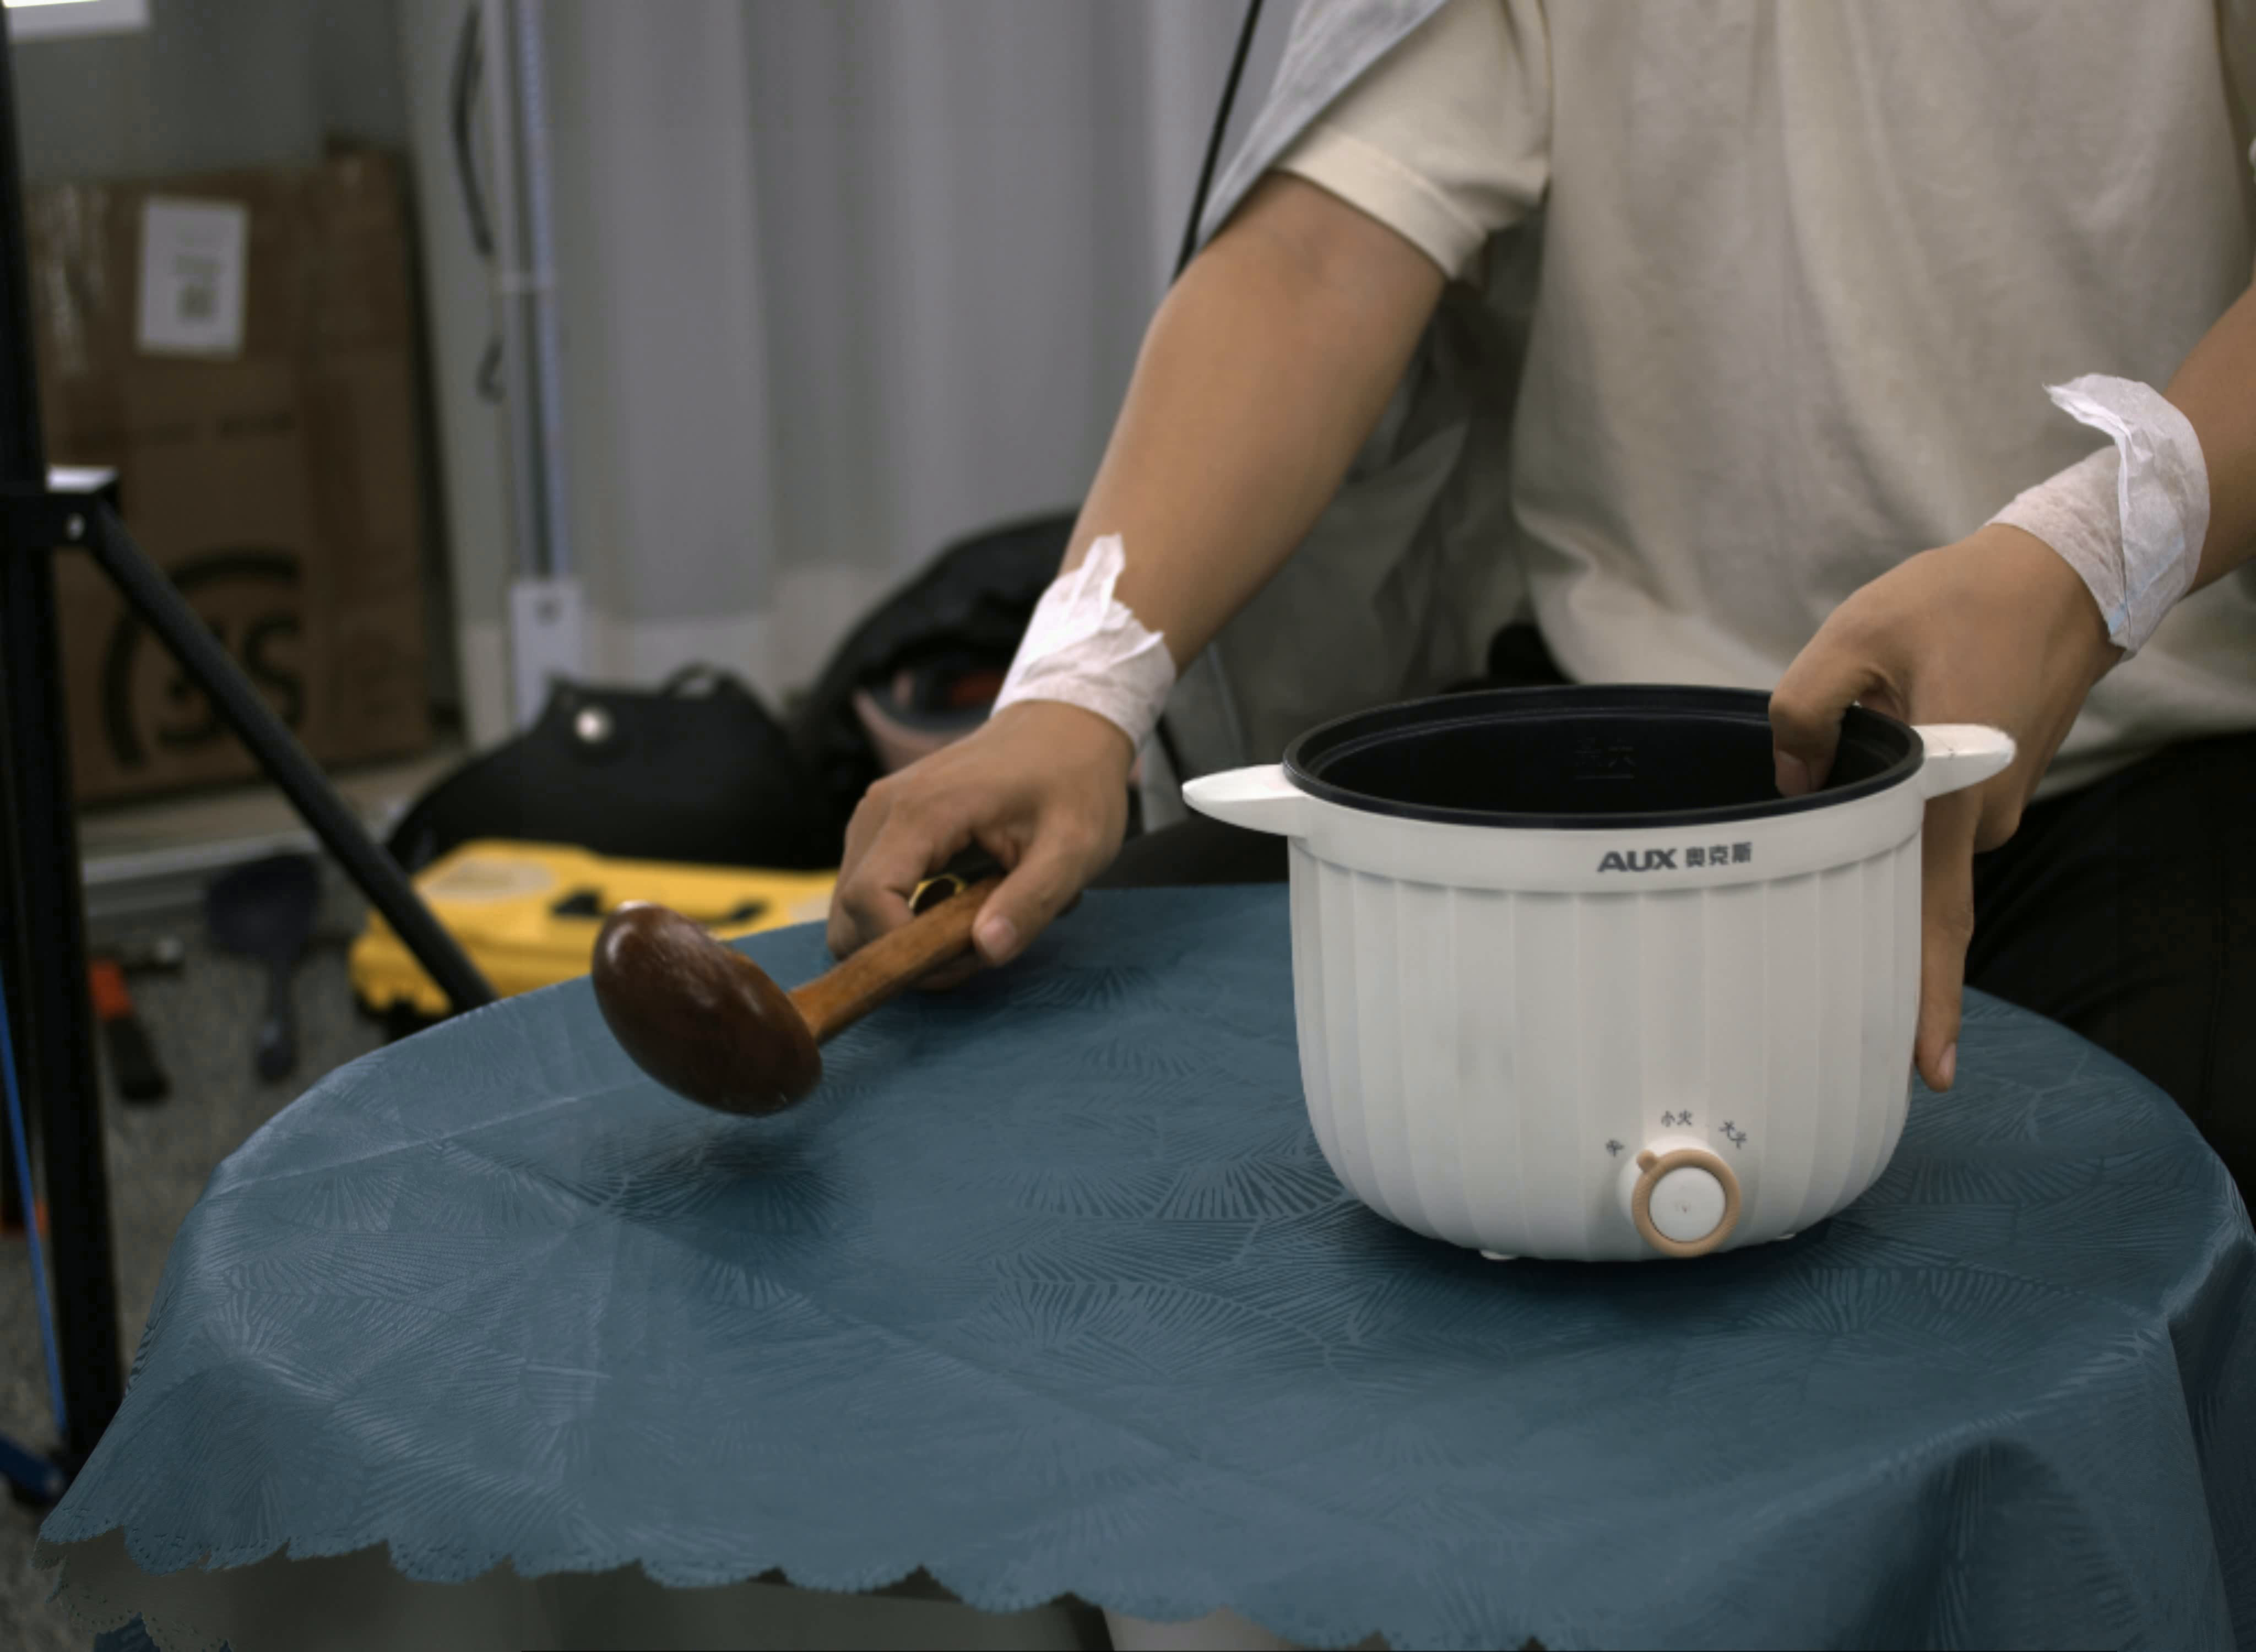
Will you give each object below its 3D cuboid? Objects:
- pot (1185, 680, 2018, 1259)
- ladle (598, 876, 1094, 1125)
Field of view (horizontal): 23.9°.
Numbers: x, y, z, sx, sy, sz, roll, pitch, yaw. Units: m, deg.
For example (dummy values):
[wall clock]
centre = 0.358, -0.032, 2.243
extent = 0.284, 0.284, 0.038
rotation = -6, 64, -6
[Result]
[pot]
centre = 0.138, 0.043, 1.499
extent = 0.238, 0.143, 0.192
rotation = -5, 9, -6
[ladle]
centre = -0.074, 0.032, 1.671
extent = 0.083, 0.077, 0.269
rotation = 39, 30, 15
